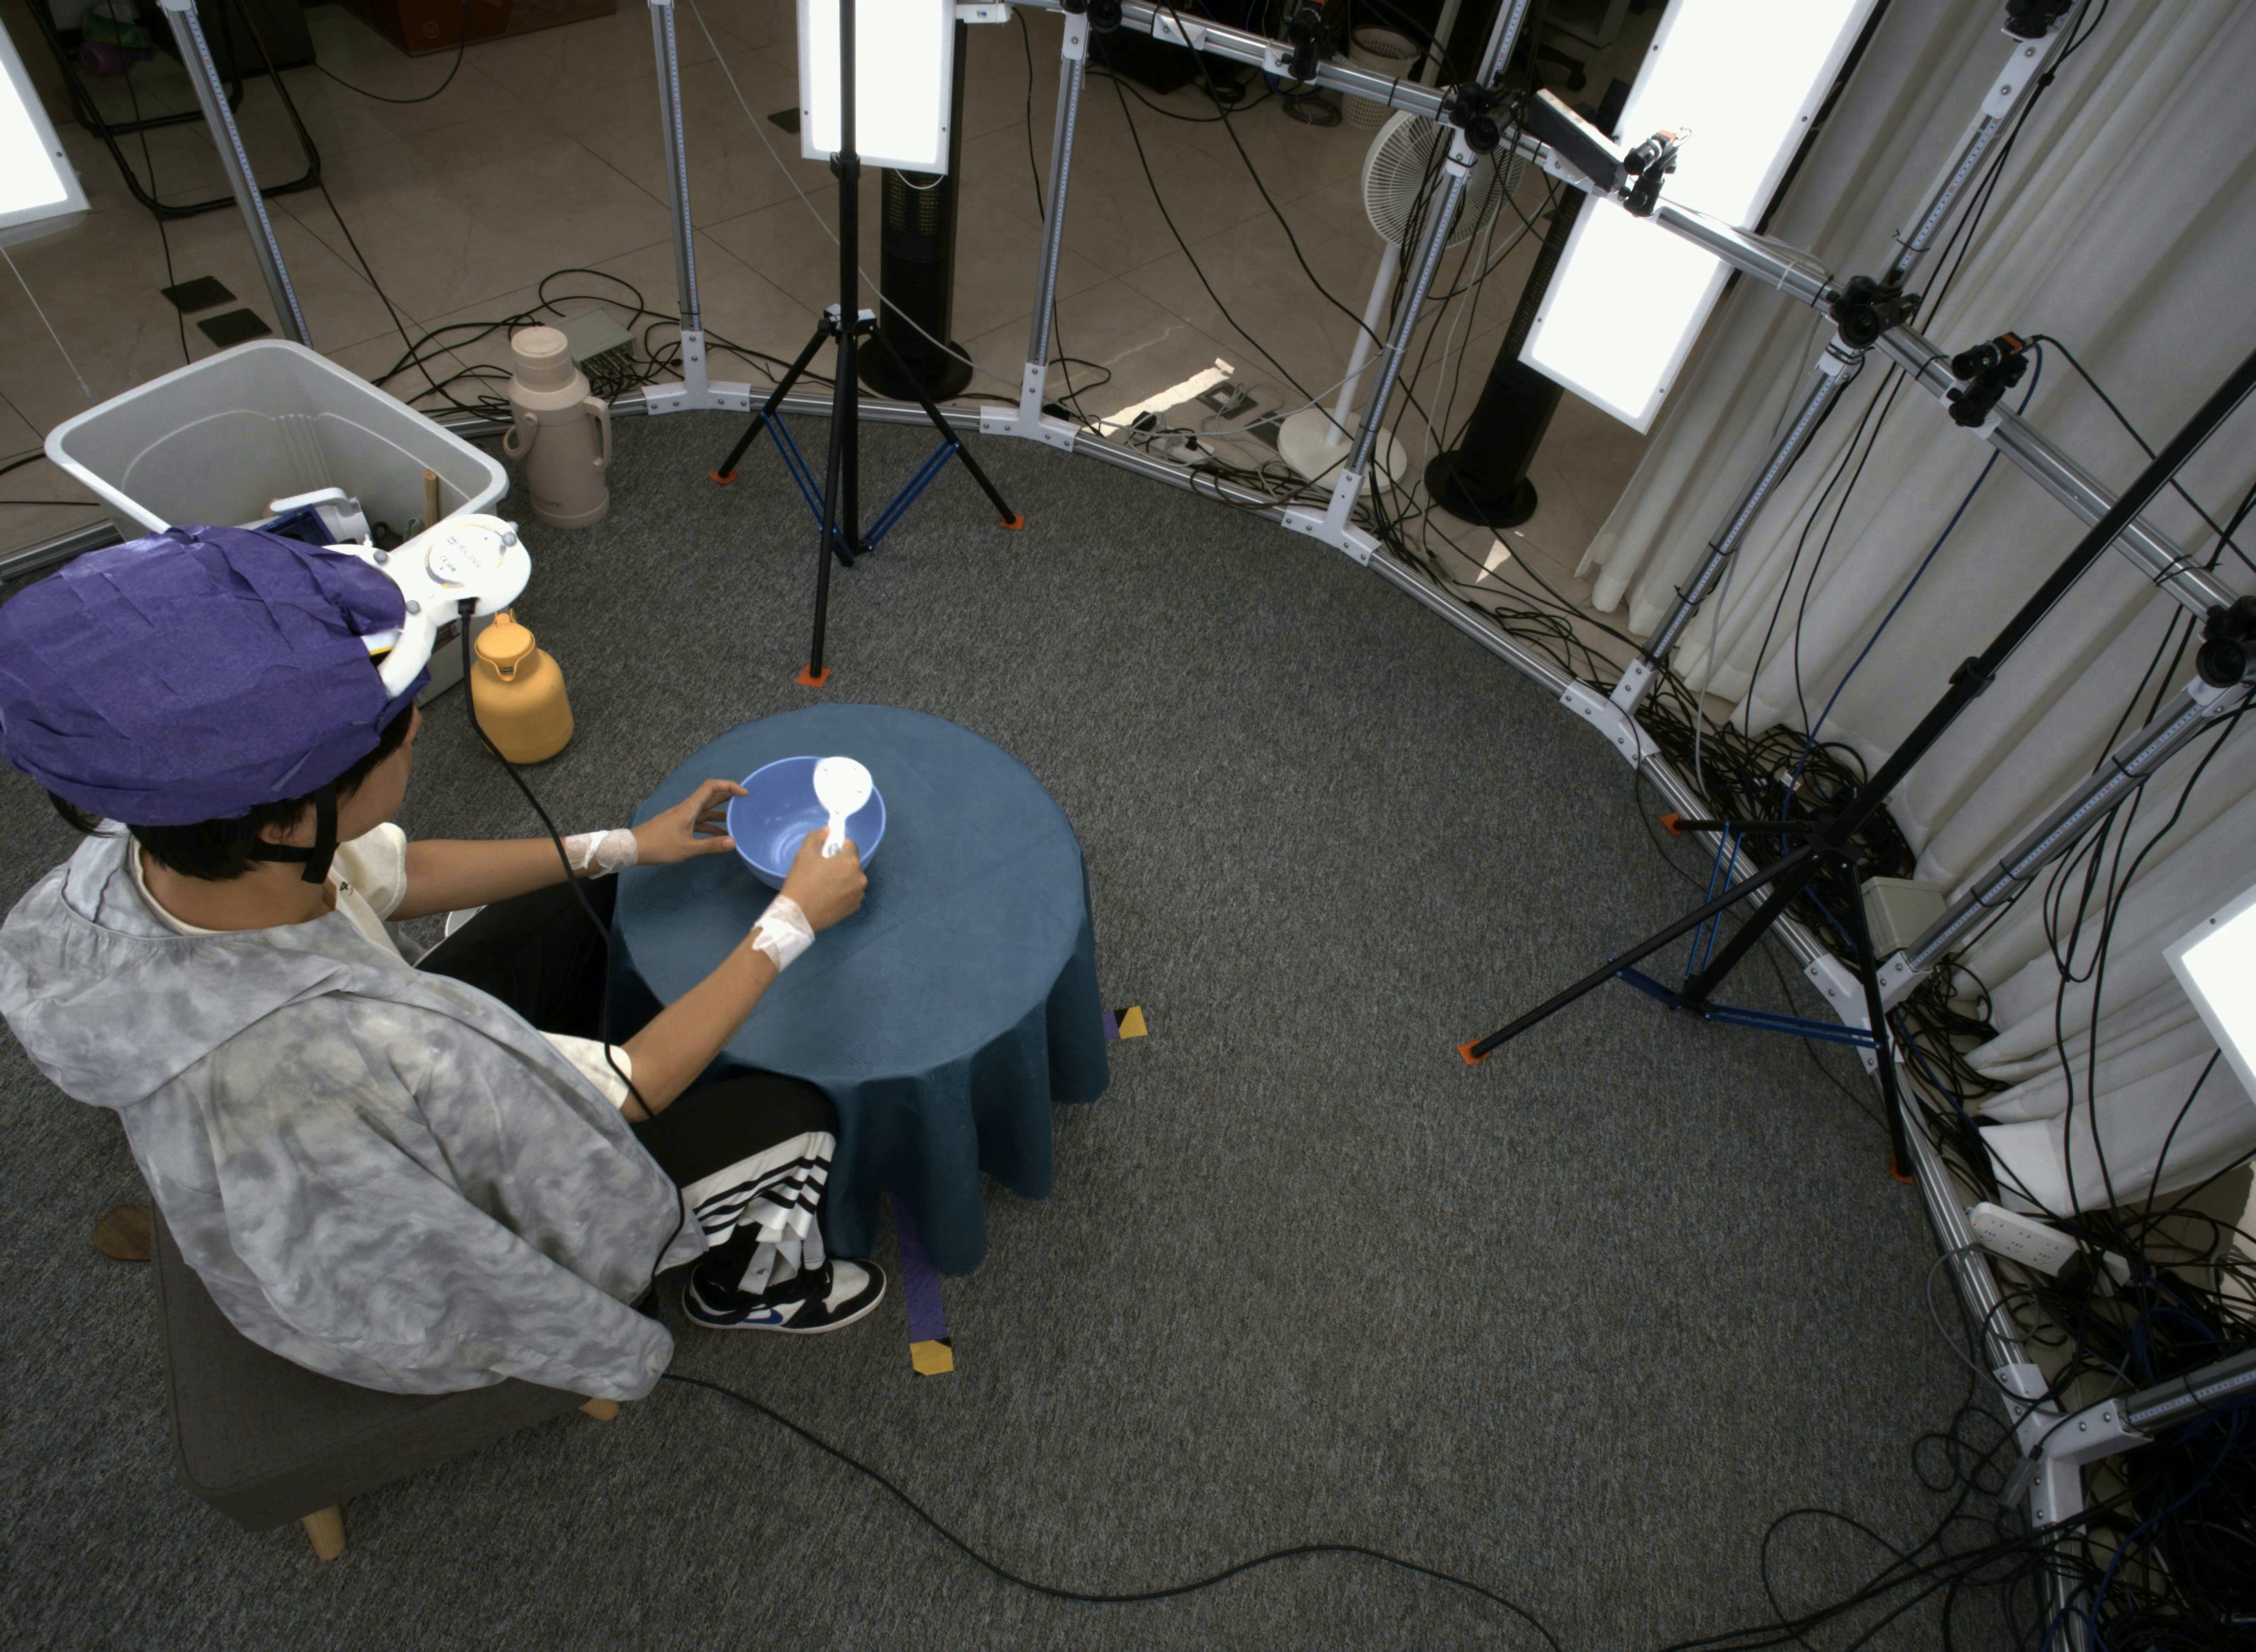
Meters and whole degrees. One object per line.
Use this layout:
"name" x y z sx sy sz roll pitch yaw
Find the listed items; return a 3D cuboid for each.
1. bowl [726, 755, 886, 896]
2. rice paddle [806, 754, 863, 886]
"bowl" -0.409 0.014 1.657 0.196 0.097 0.193 8 51 -9
"rice paddle" -0.350 -0.017 1.530 0.069 0.030 0.200 13 45 -20
